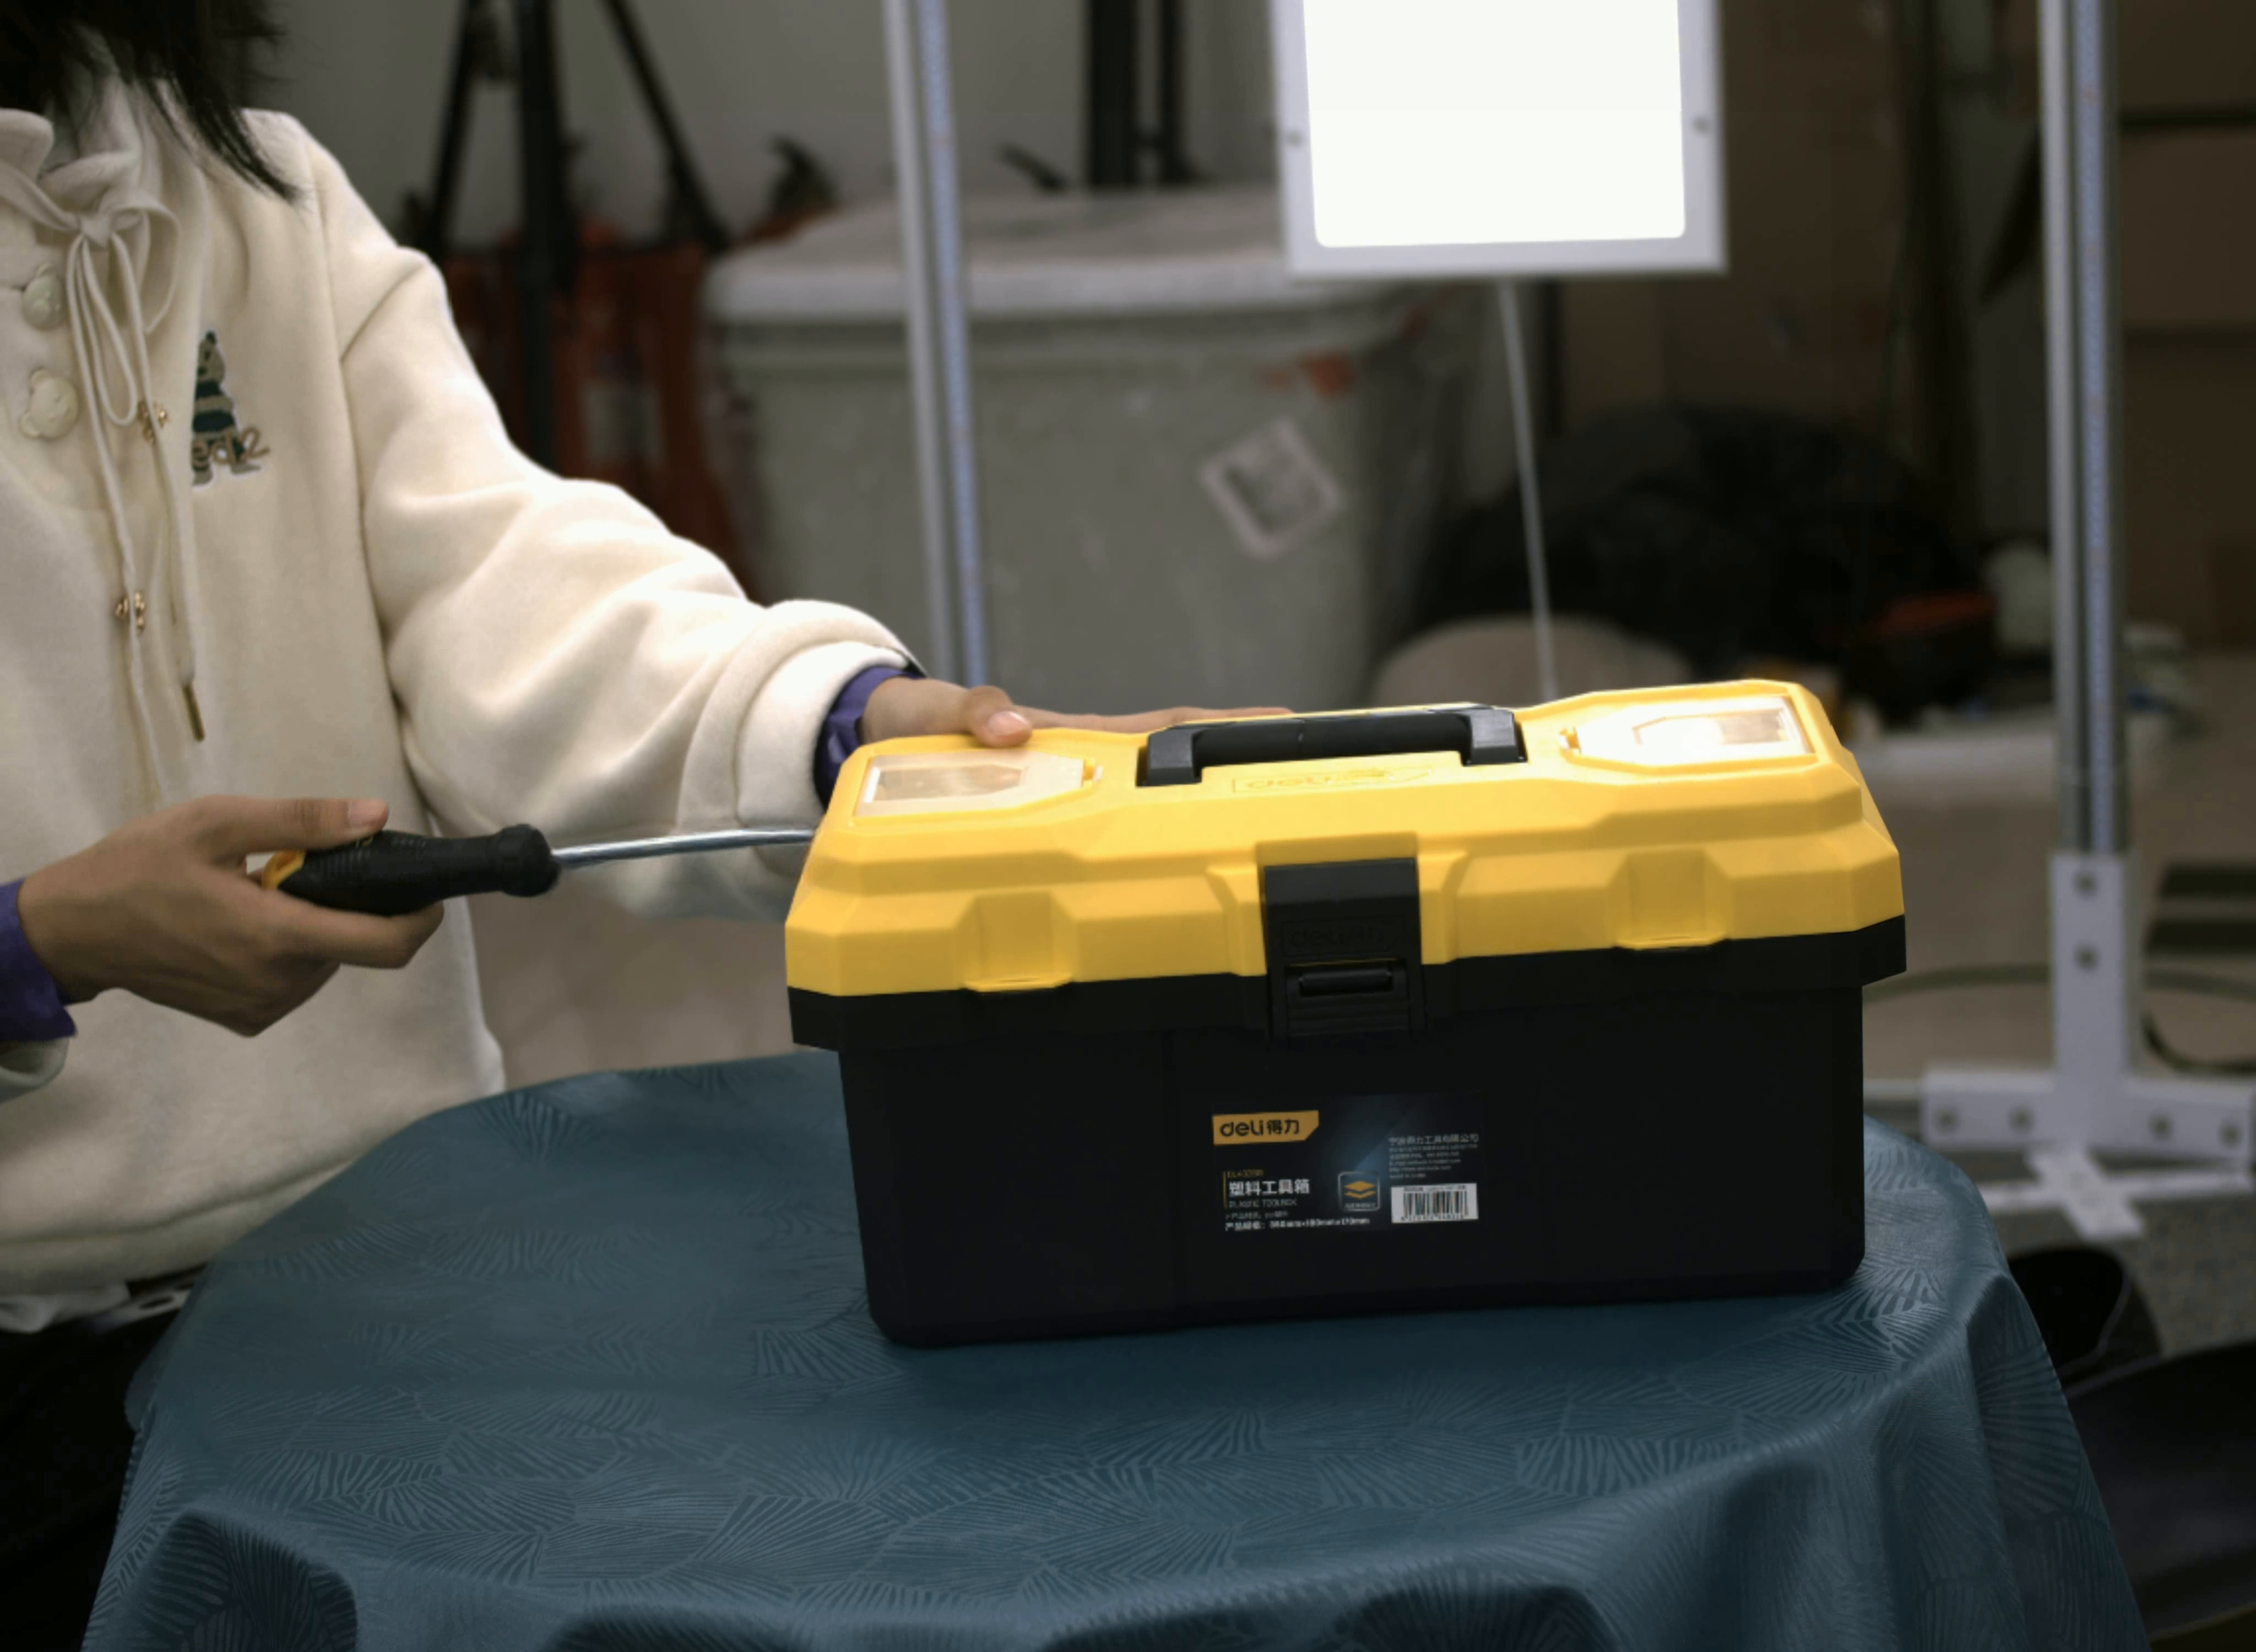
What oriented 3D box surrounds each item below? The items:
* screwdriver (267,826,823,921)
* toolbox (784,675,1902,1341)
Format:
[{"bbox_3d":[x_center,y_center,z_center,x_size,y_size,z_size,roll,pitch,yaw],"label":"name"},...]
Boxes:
[{"bbox_3d":[-0.193,0.009,1.819,0.200,0.031,0.031,-7,12,17],"label":"screwdriver"},{"bbox_3d":[0.071,0.059,1.783,0.352,0.173,0.180,-4,14,5],"label":"toolbox"}]
